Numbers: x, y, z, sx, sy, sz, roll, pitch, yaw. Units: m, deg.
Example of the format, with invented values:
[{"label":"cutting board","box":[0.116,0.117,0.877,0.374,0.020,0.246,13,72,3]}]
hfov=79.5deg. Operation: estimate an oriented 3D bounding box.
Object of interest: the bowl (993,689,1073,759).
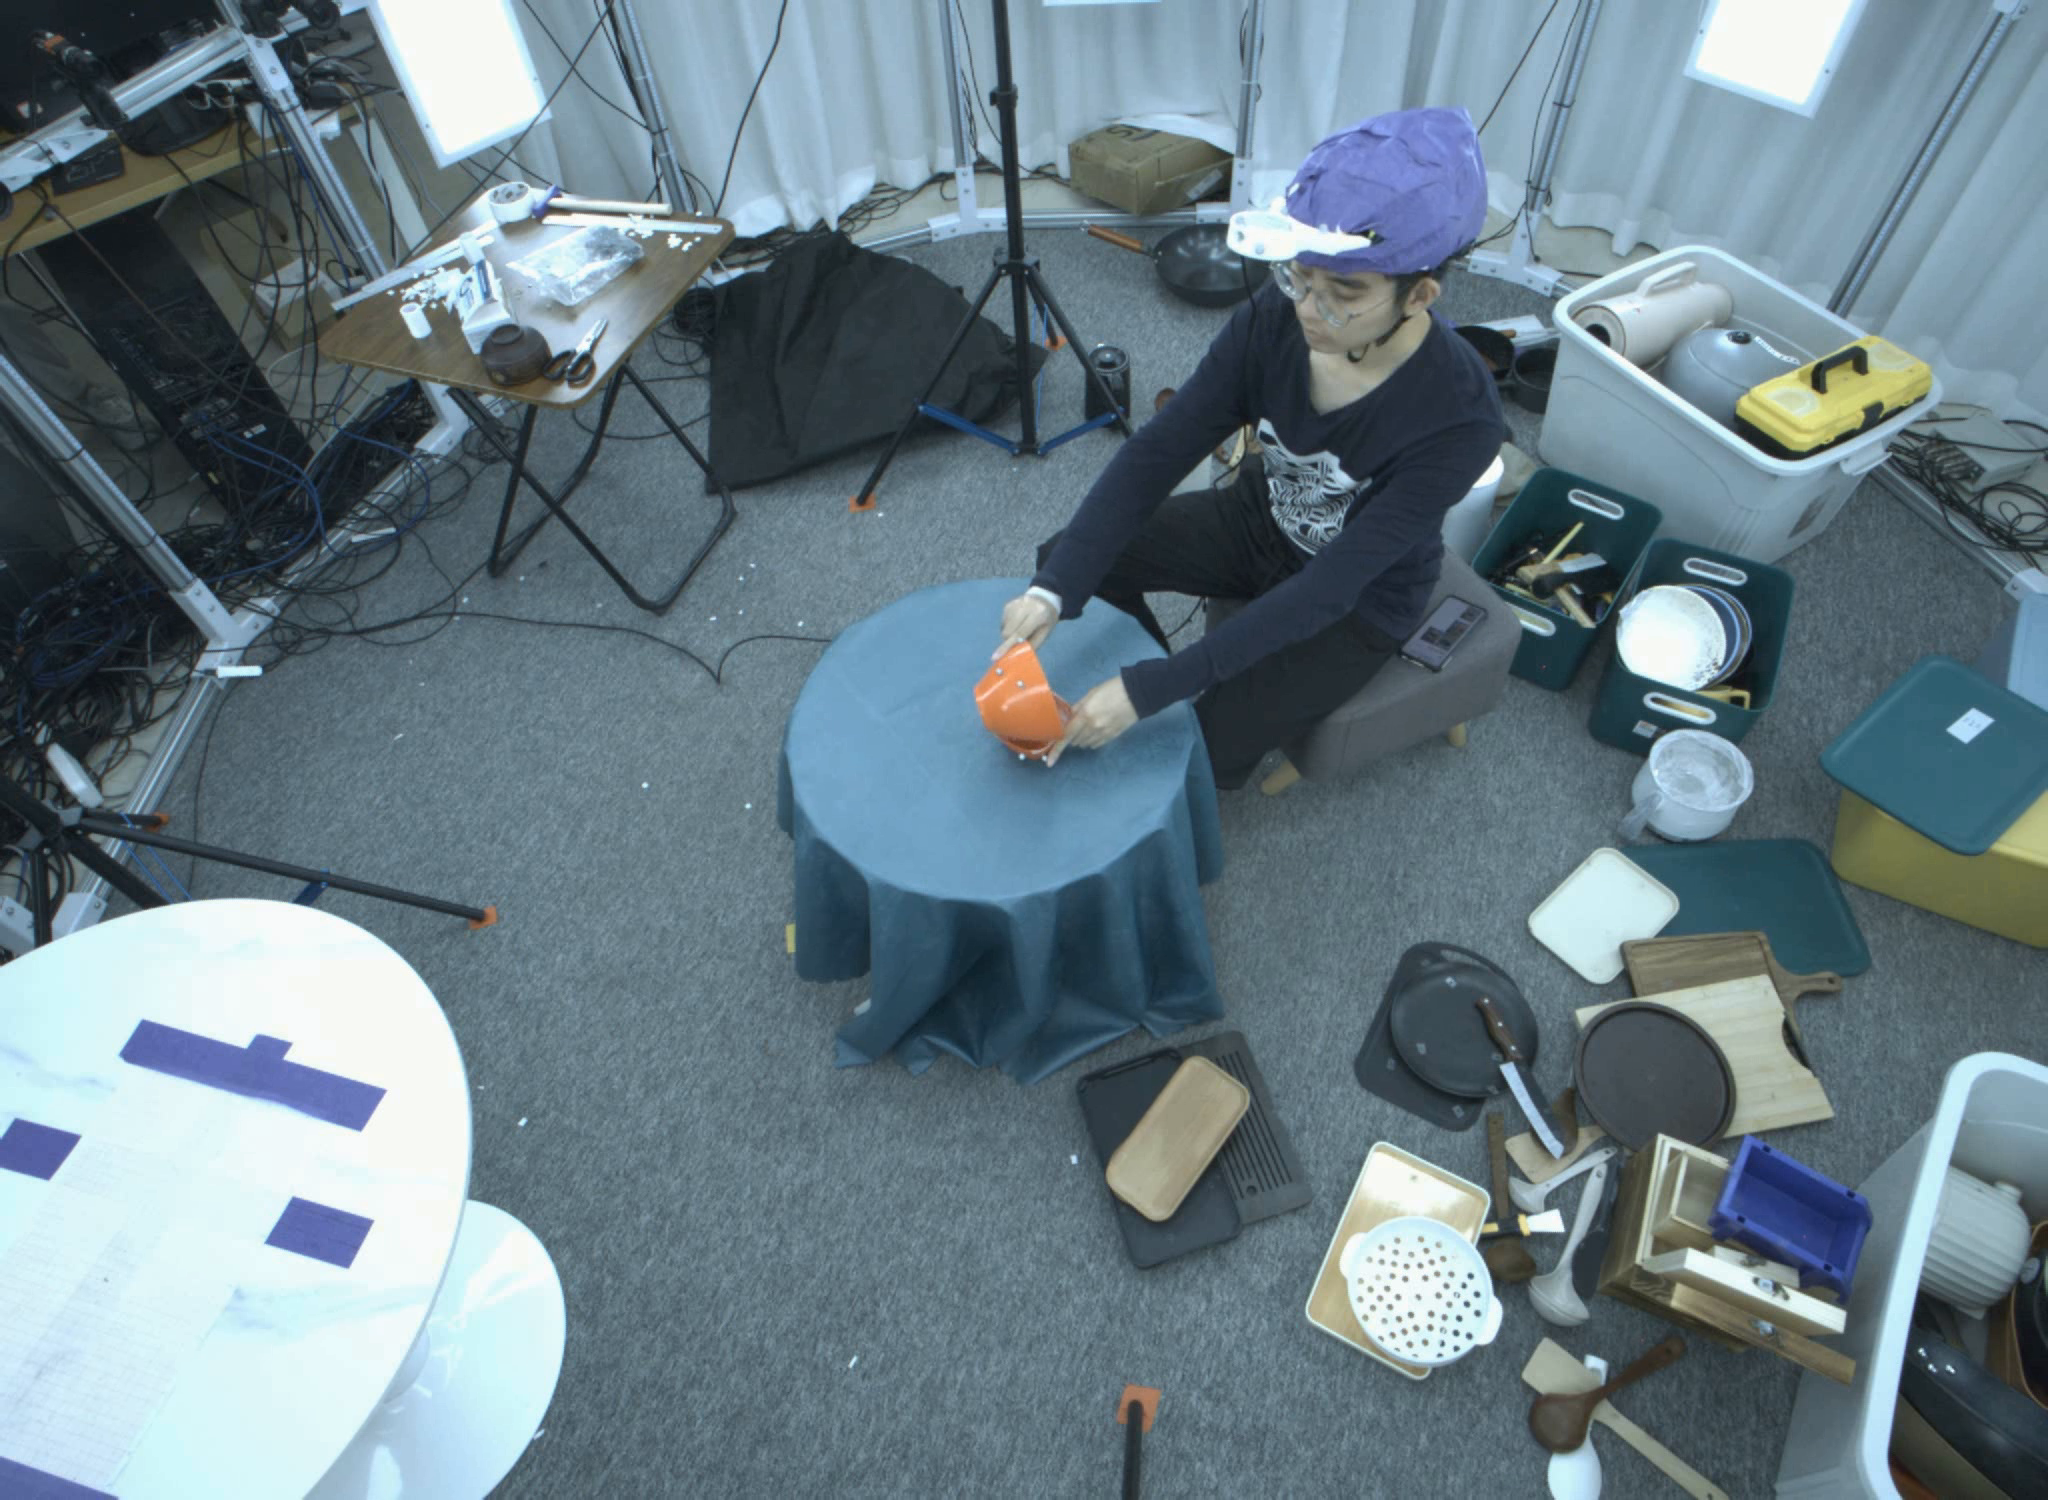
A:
[{"label":"bowl","box":[0.014,-0.033,1.785,0.118,0.052,0.117,-2,54,4]}]

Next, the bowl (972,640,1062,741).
[{"label":"bowl","box":[-0.013,-0.070,1.705,0.104,0.150,0.146,-19,55,4]}]
